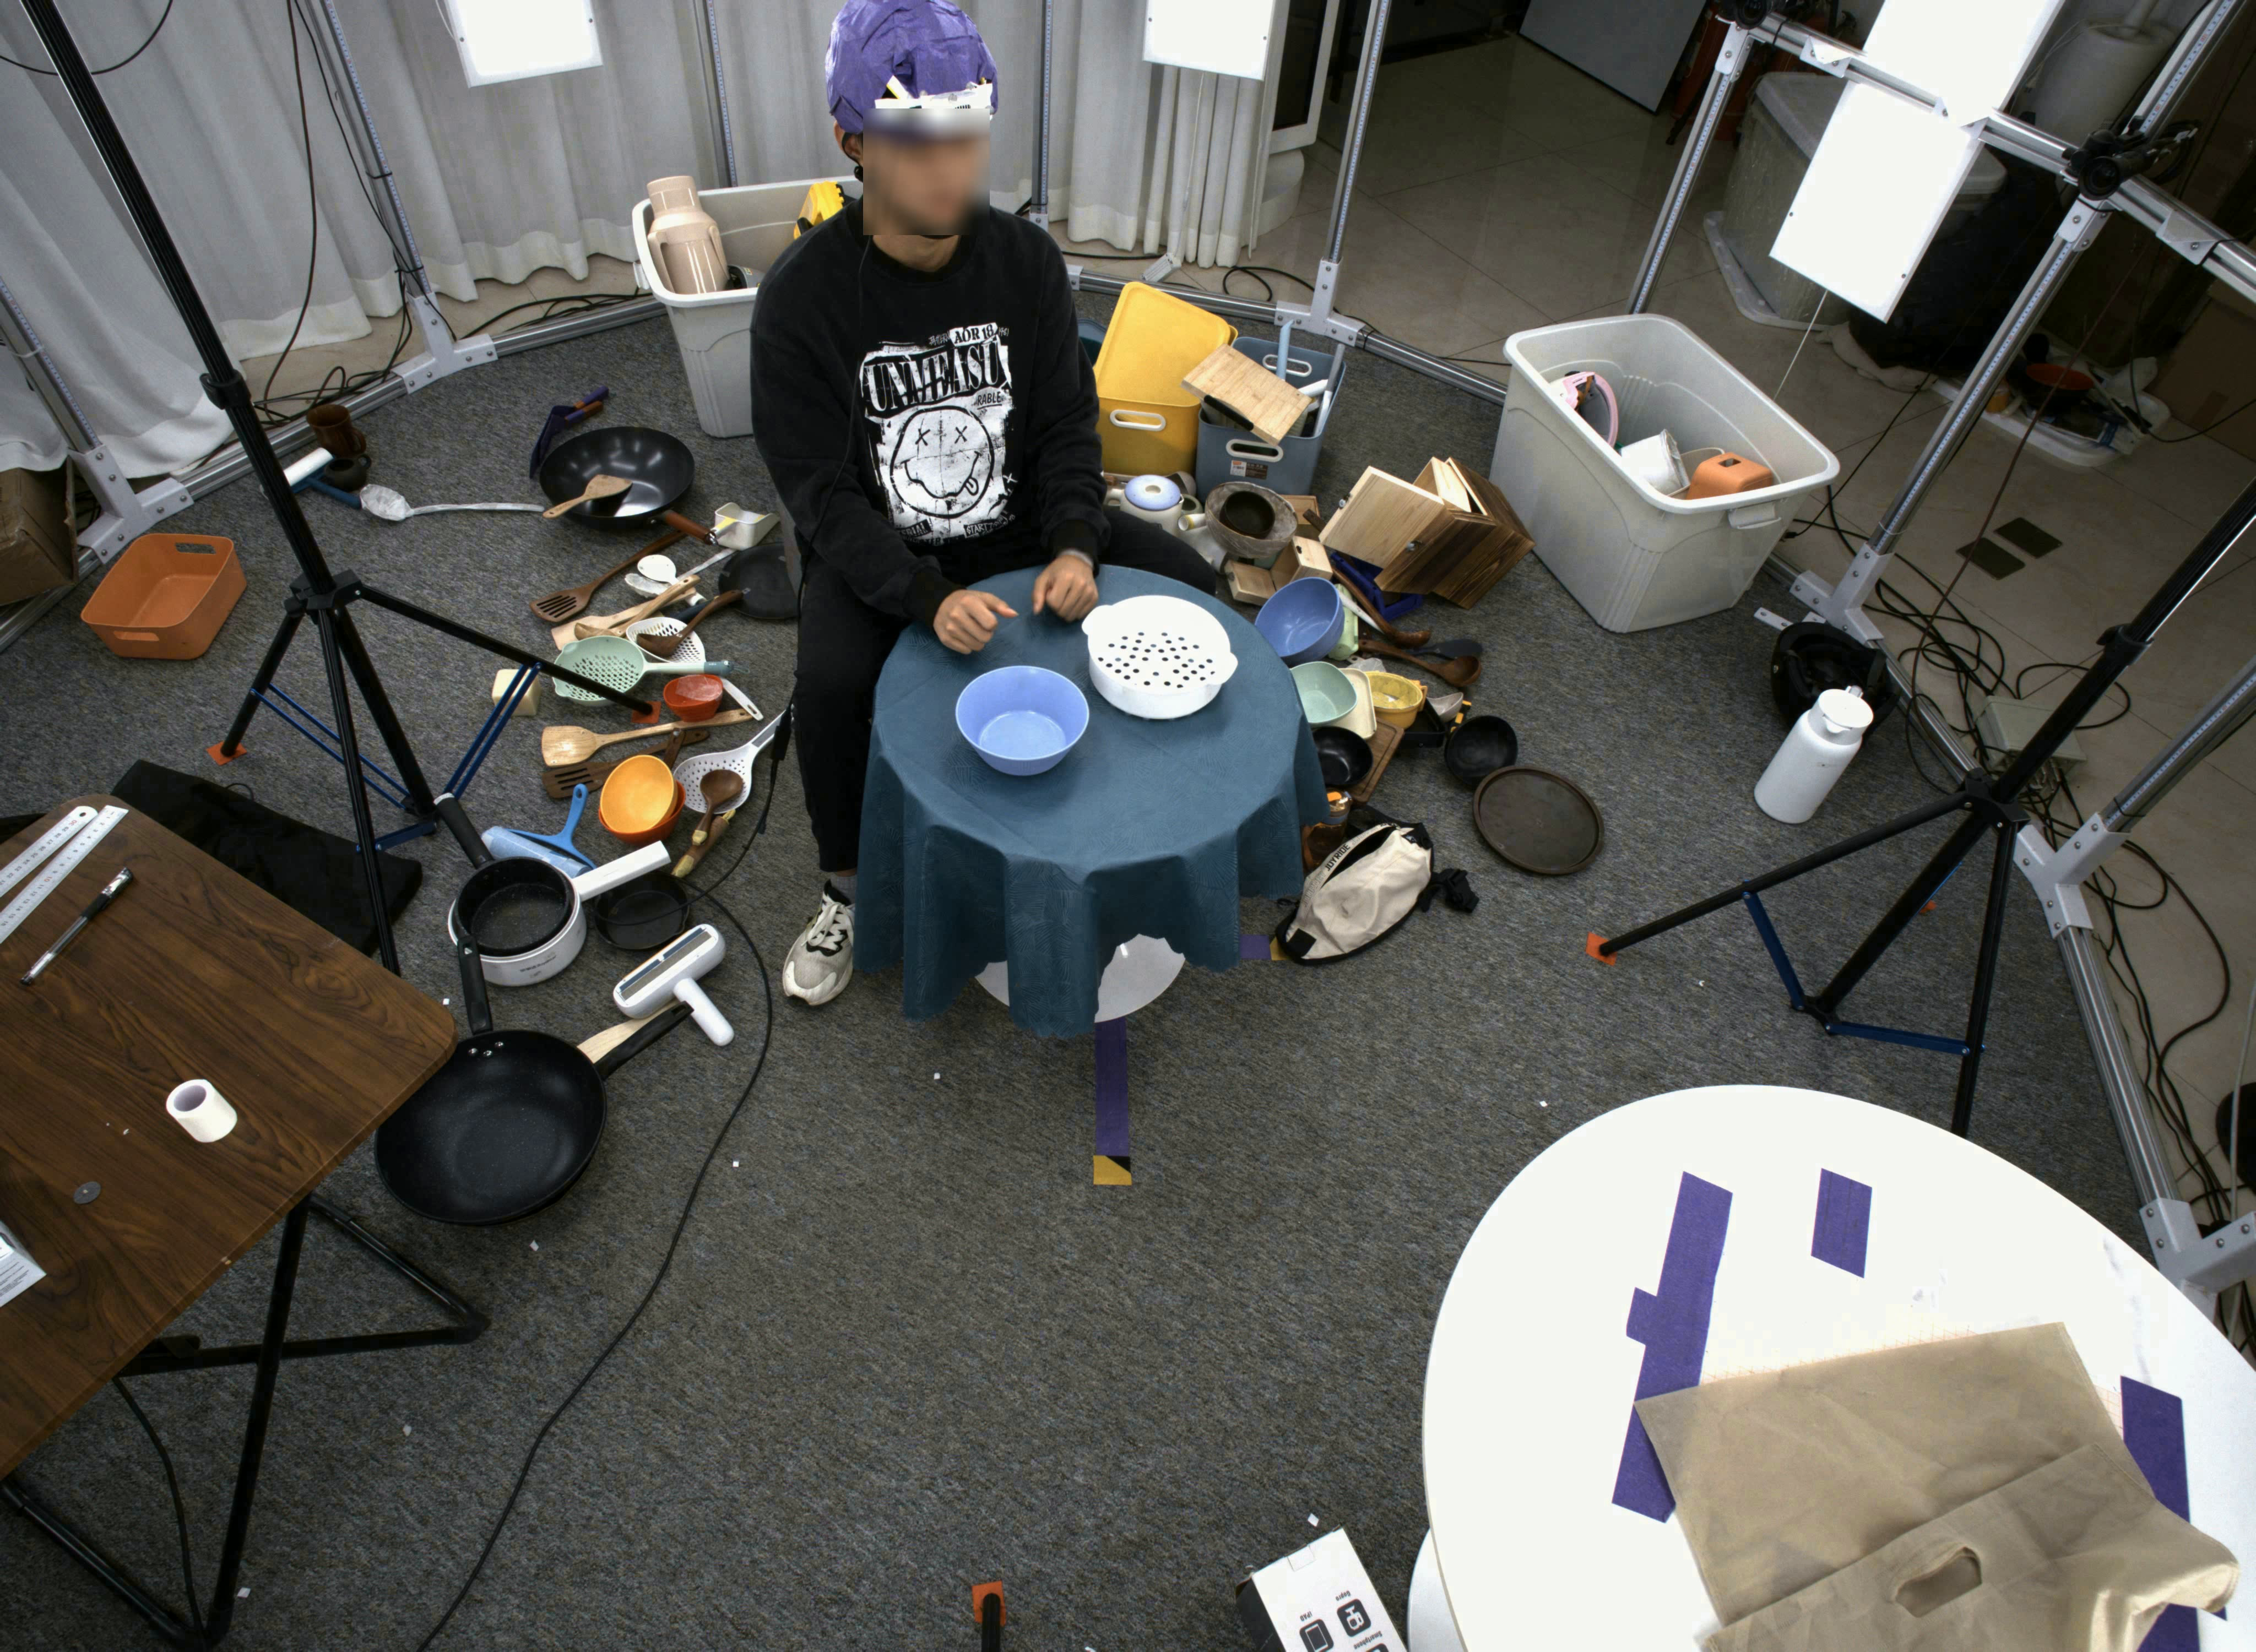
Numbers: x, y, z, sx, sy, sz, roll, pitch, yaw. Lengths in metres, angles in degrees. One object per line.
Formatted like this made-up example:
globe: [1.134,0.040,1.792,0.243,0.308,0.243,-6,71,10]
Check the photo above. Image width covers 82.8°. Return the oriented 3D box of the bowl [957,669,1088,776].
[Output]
bowl: [-0.143,-0.131,1.743,0.176,0.068,0.180,2,48,-3]

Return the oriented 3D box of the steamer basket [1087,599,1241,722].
steamer basket: [0.048,-0.238,1.851,0.232,0.067,0.205,24,52,14]
